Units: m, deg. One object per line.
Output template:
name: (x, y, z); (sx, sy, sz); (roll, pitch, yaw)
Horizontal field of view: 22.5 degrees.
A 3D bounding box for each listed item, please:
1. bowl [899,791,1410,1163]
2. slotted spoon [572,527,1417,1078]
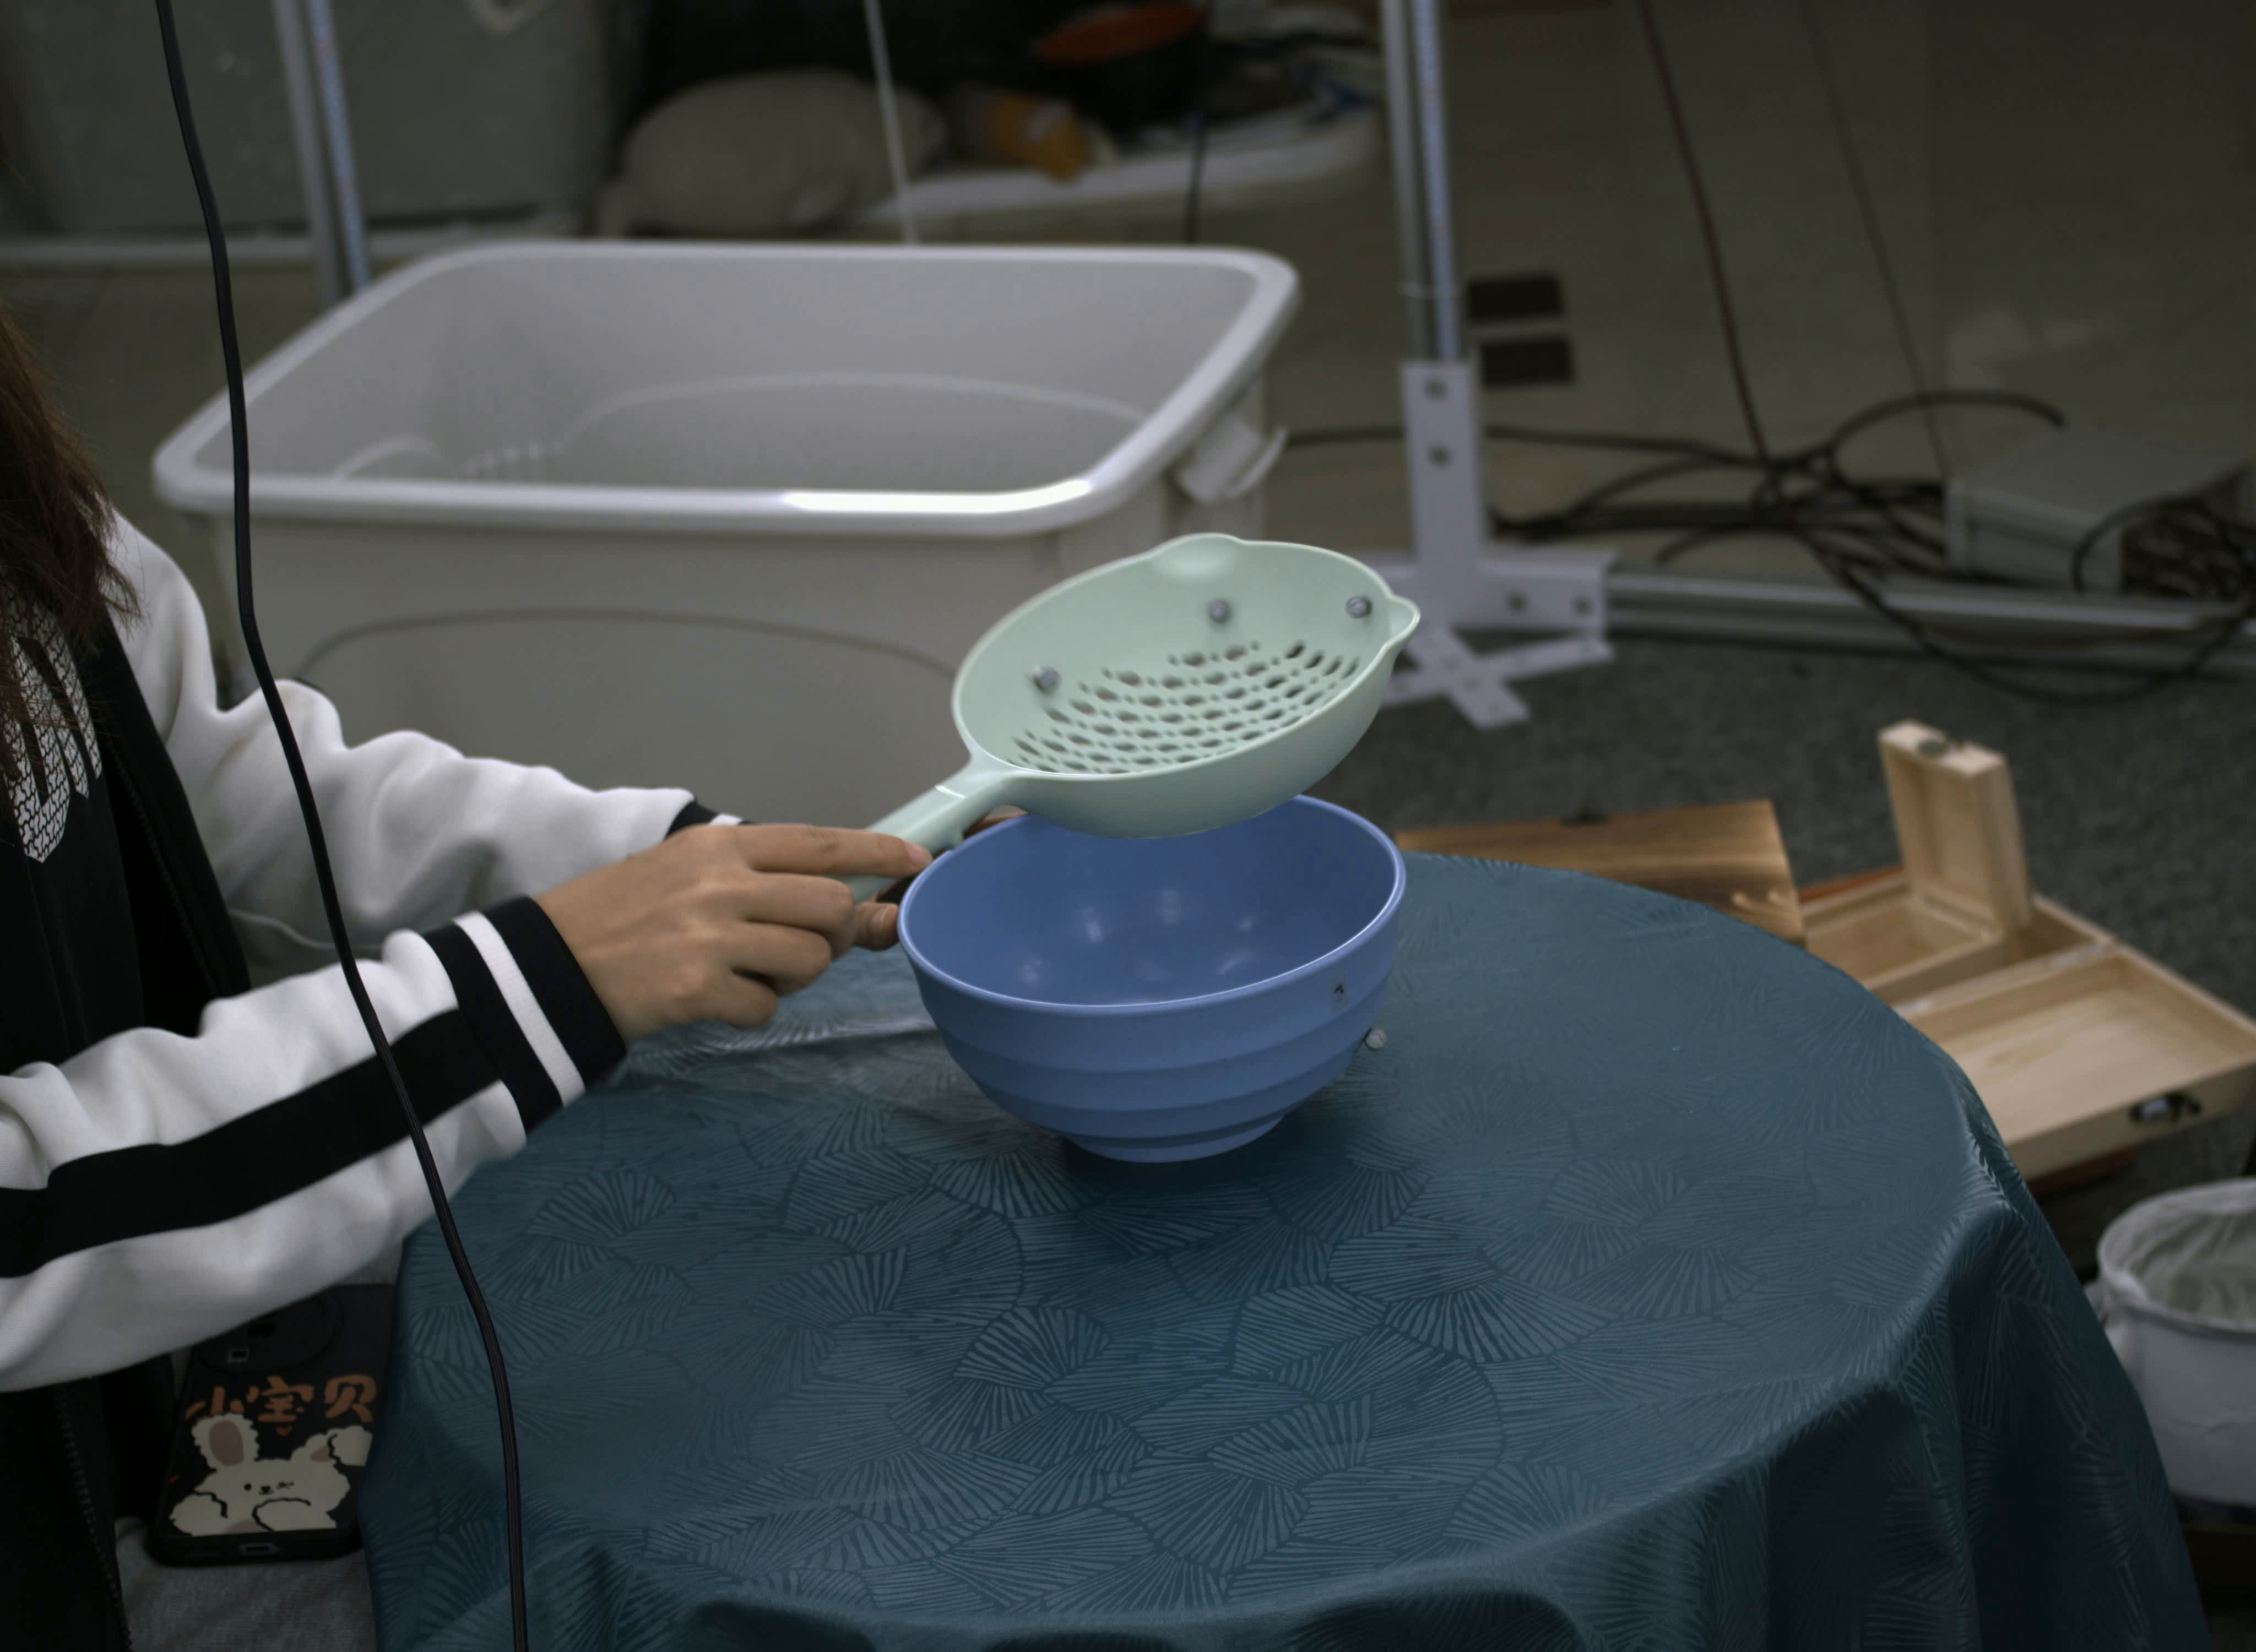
bowl: (0.014, 0.067, 2.184); (0.196, 0.097, 0.193); (-5, 26, 3)
slotted spoon: (-0.057, -0.007, 2.064); (0.356, 0.076, 0.167); (-24, 33, -31)
